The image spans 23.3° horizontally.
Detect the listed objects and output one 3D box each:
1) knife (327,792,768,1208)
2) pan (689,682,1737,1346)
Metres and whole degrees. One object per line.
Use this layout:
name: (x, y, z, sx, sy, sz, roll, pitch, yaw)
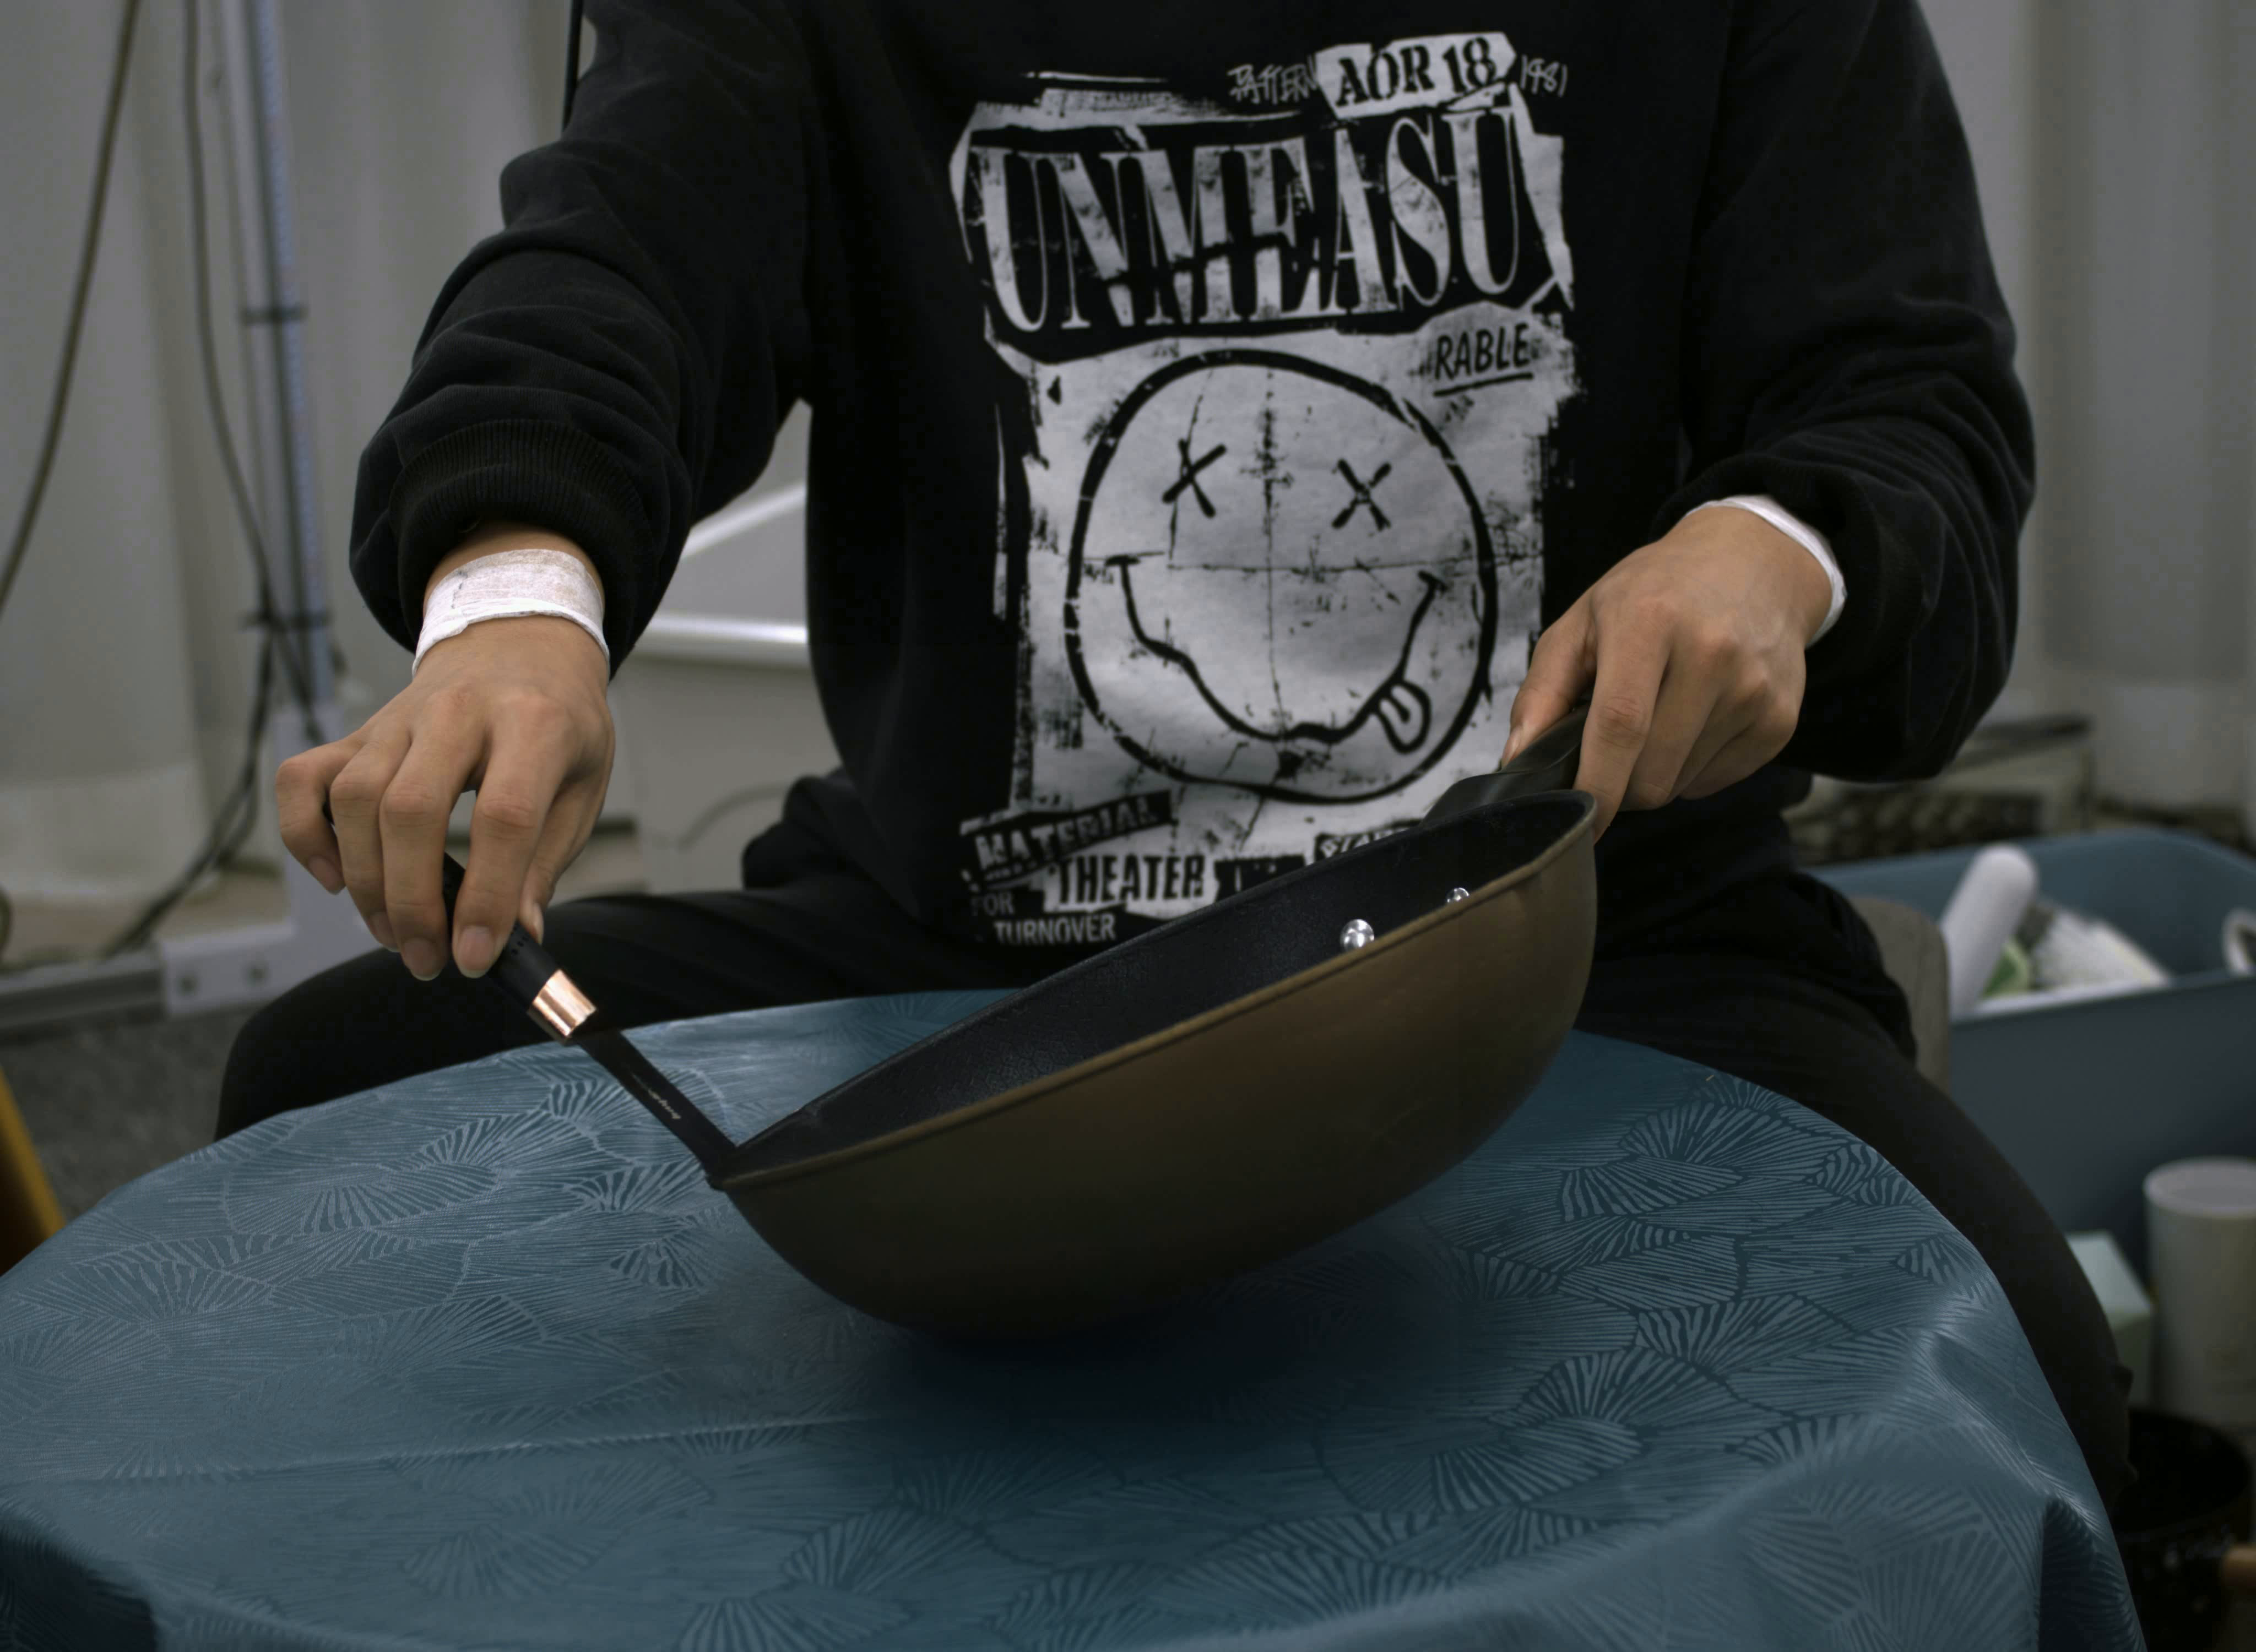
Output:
knife: (-0.153, 0.062, 1.585, 0.227, 0.017, 0.026, 40, 12, 21)
pan: (0.069, 0.056, 1.651, 0.287, 0.087, 0.464, -20, 4, 39)
